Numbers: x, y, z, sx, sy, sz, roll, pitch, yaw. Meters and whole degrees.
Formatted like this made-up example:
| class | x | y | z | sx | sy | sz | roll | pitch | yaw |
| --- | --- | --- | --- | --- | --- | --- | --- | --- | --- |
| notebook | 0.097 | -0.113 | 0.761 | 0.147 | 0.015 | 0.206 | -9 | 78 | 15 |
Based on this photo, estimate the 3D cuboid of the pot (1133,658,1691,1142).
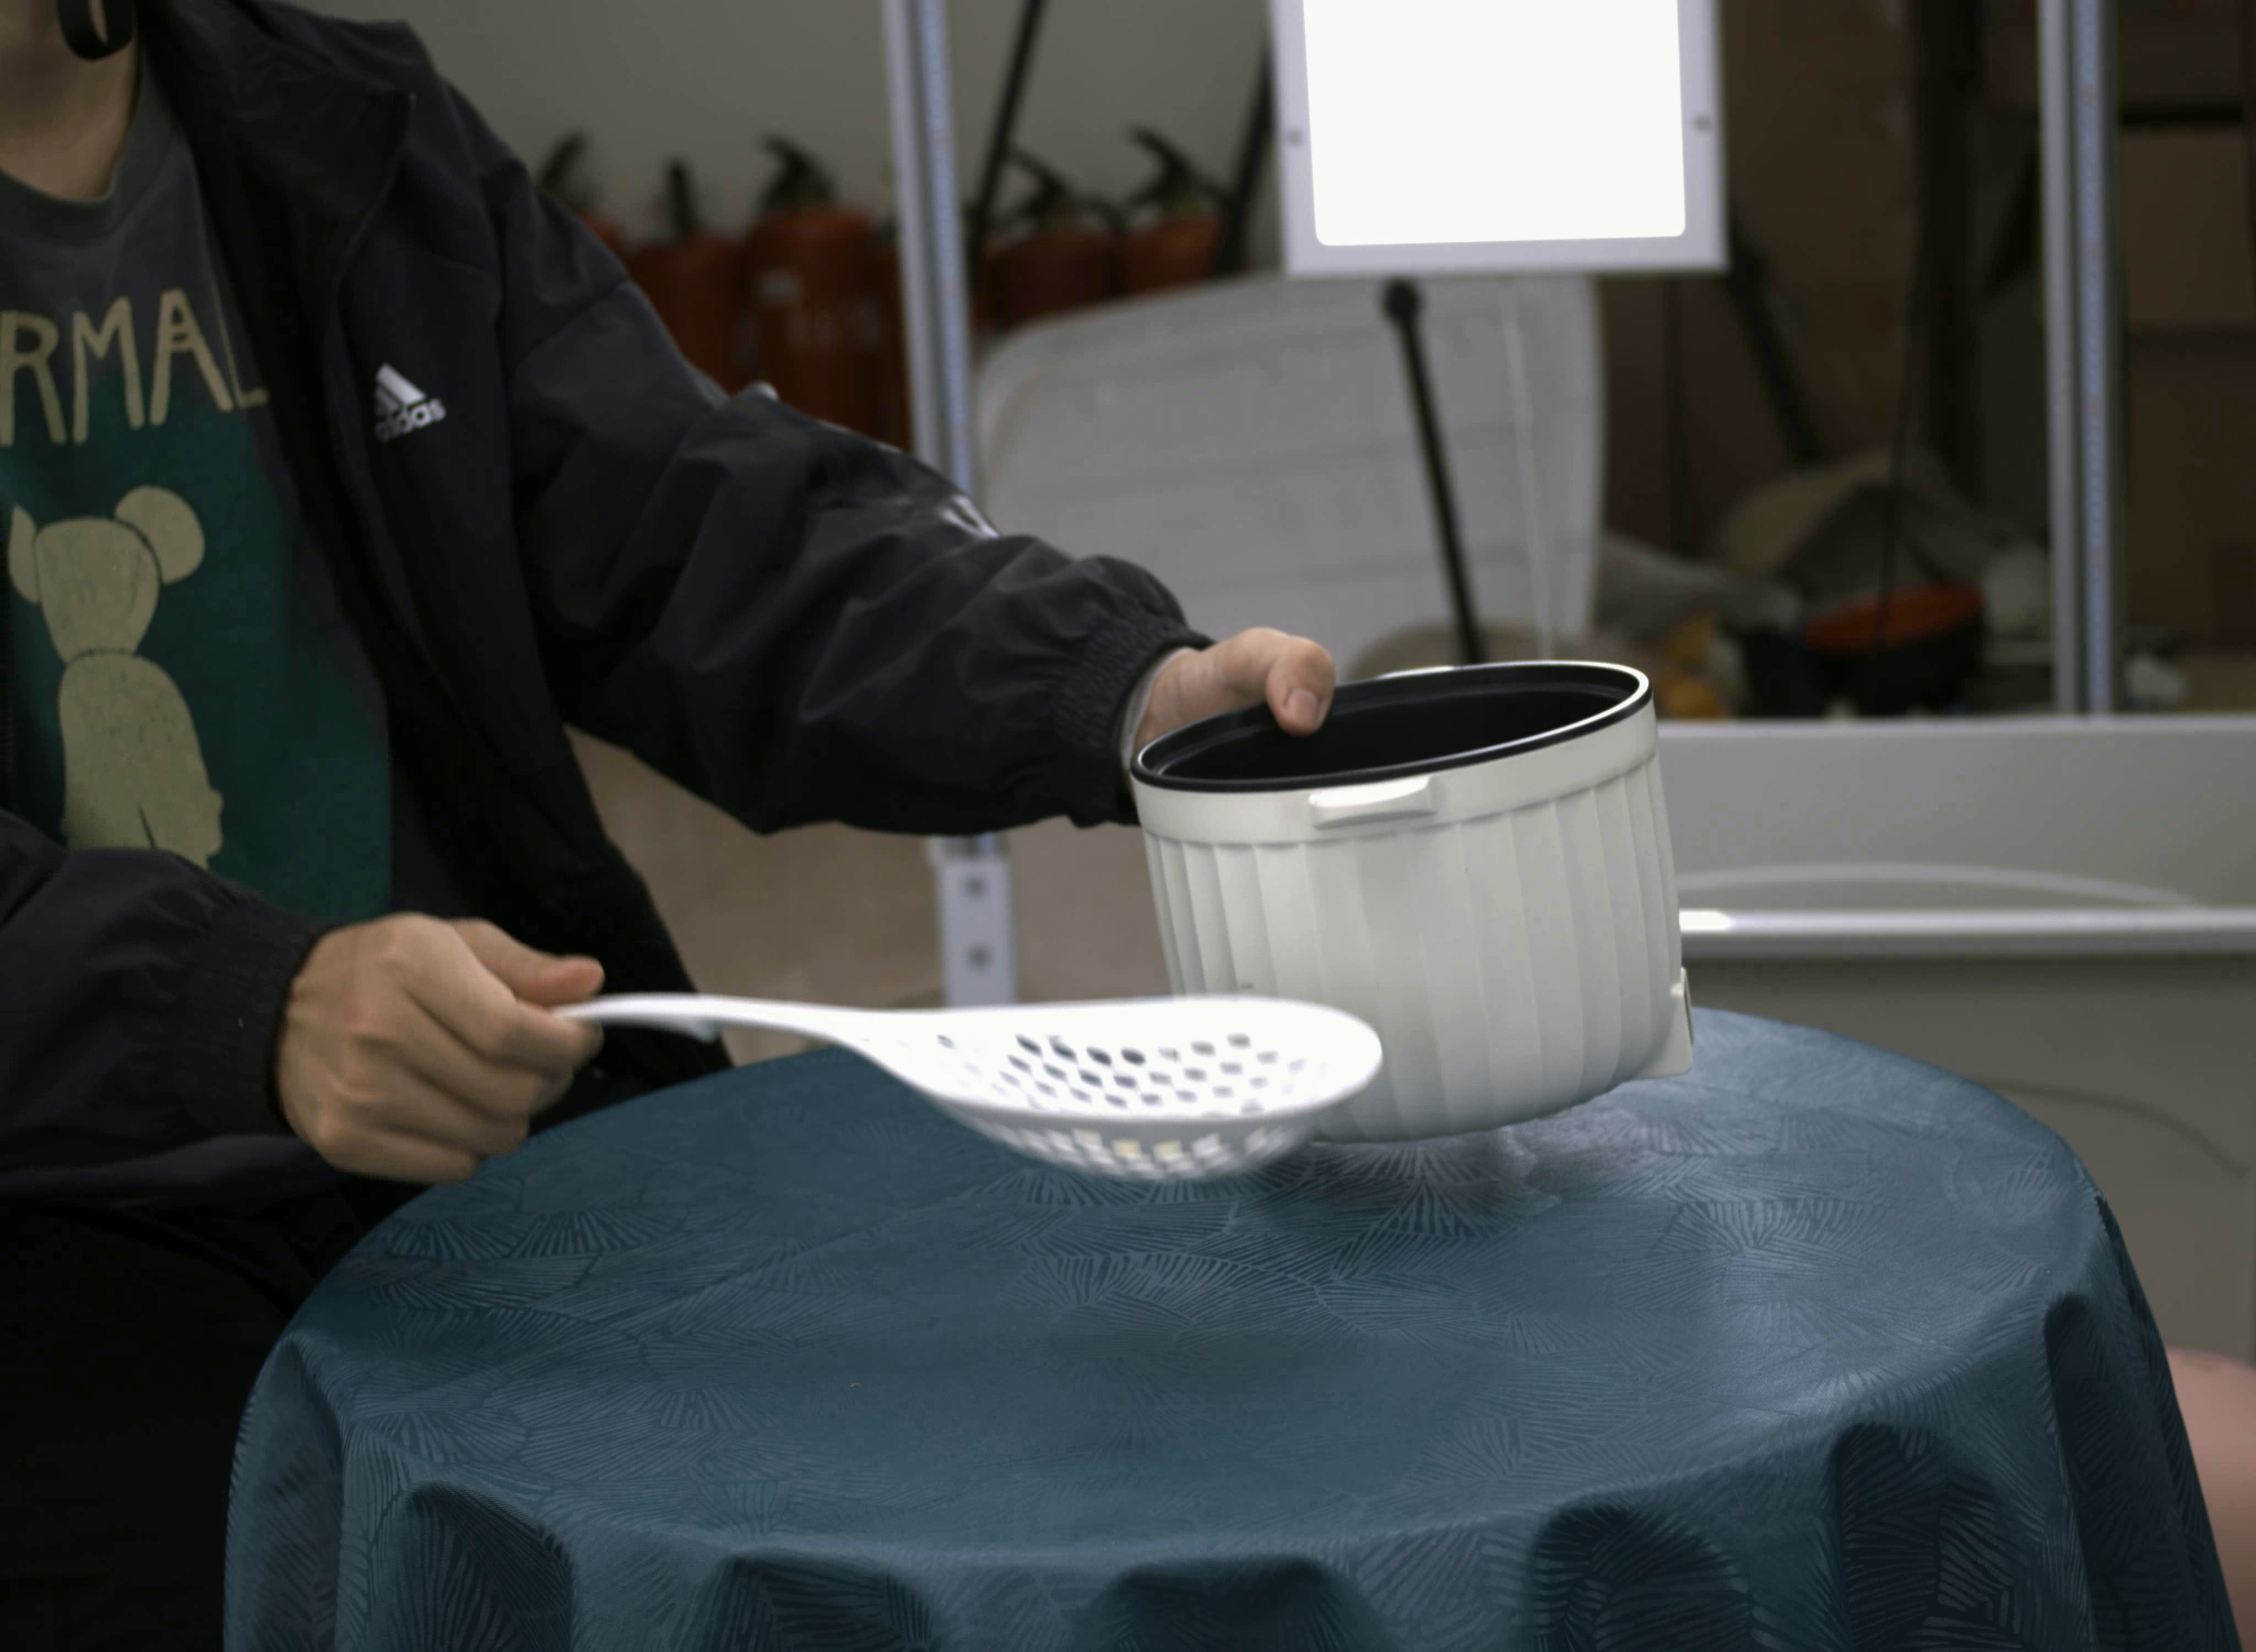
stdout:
| class | x | y | z | sx | sy | sz | roll | pitch | yaw |
| --- | --- | --- | --- | --- | --- | --- | --- | --- | --- |
| pot | 0.094 | 0.027 | 1.887 | 0.191 | 0.143 | 0.238 | -5 | 10 | 9 |

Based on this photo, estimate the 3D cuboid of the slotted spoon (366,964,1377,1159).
| class | x | y | z | sx | sy | sz | roll | pitch | yaw |
| --- | --- | --- | --- | --- | --- | --- | --- | --- | --- |
| slotted spoon | -0.089 | 0.069 | 1.767 | 0.353 | 0.050 | 0.134 | 7 | 17 | 25 |
